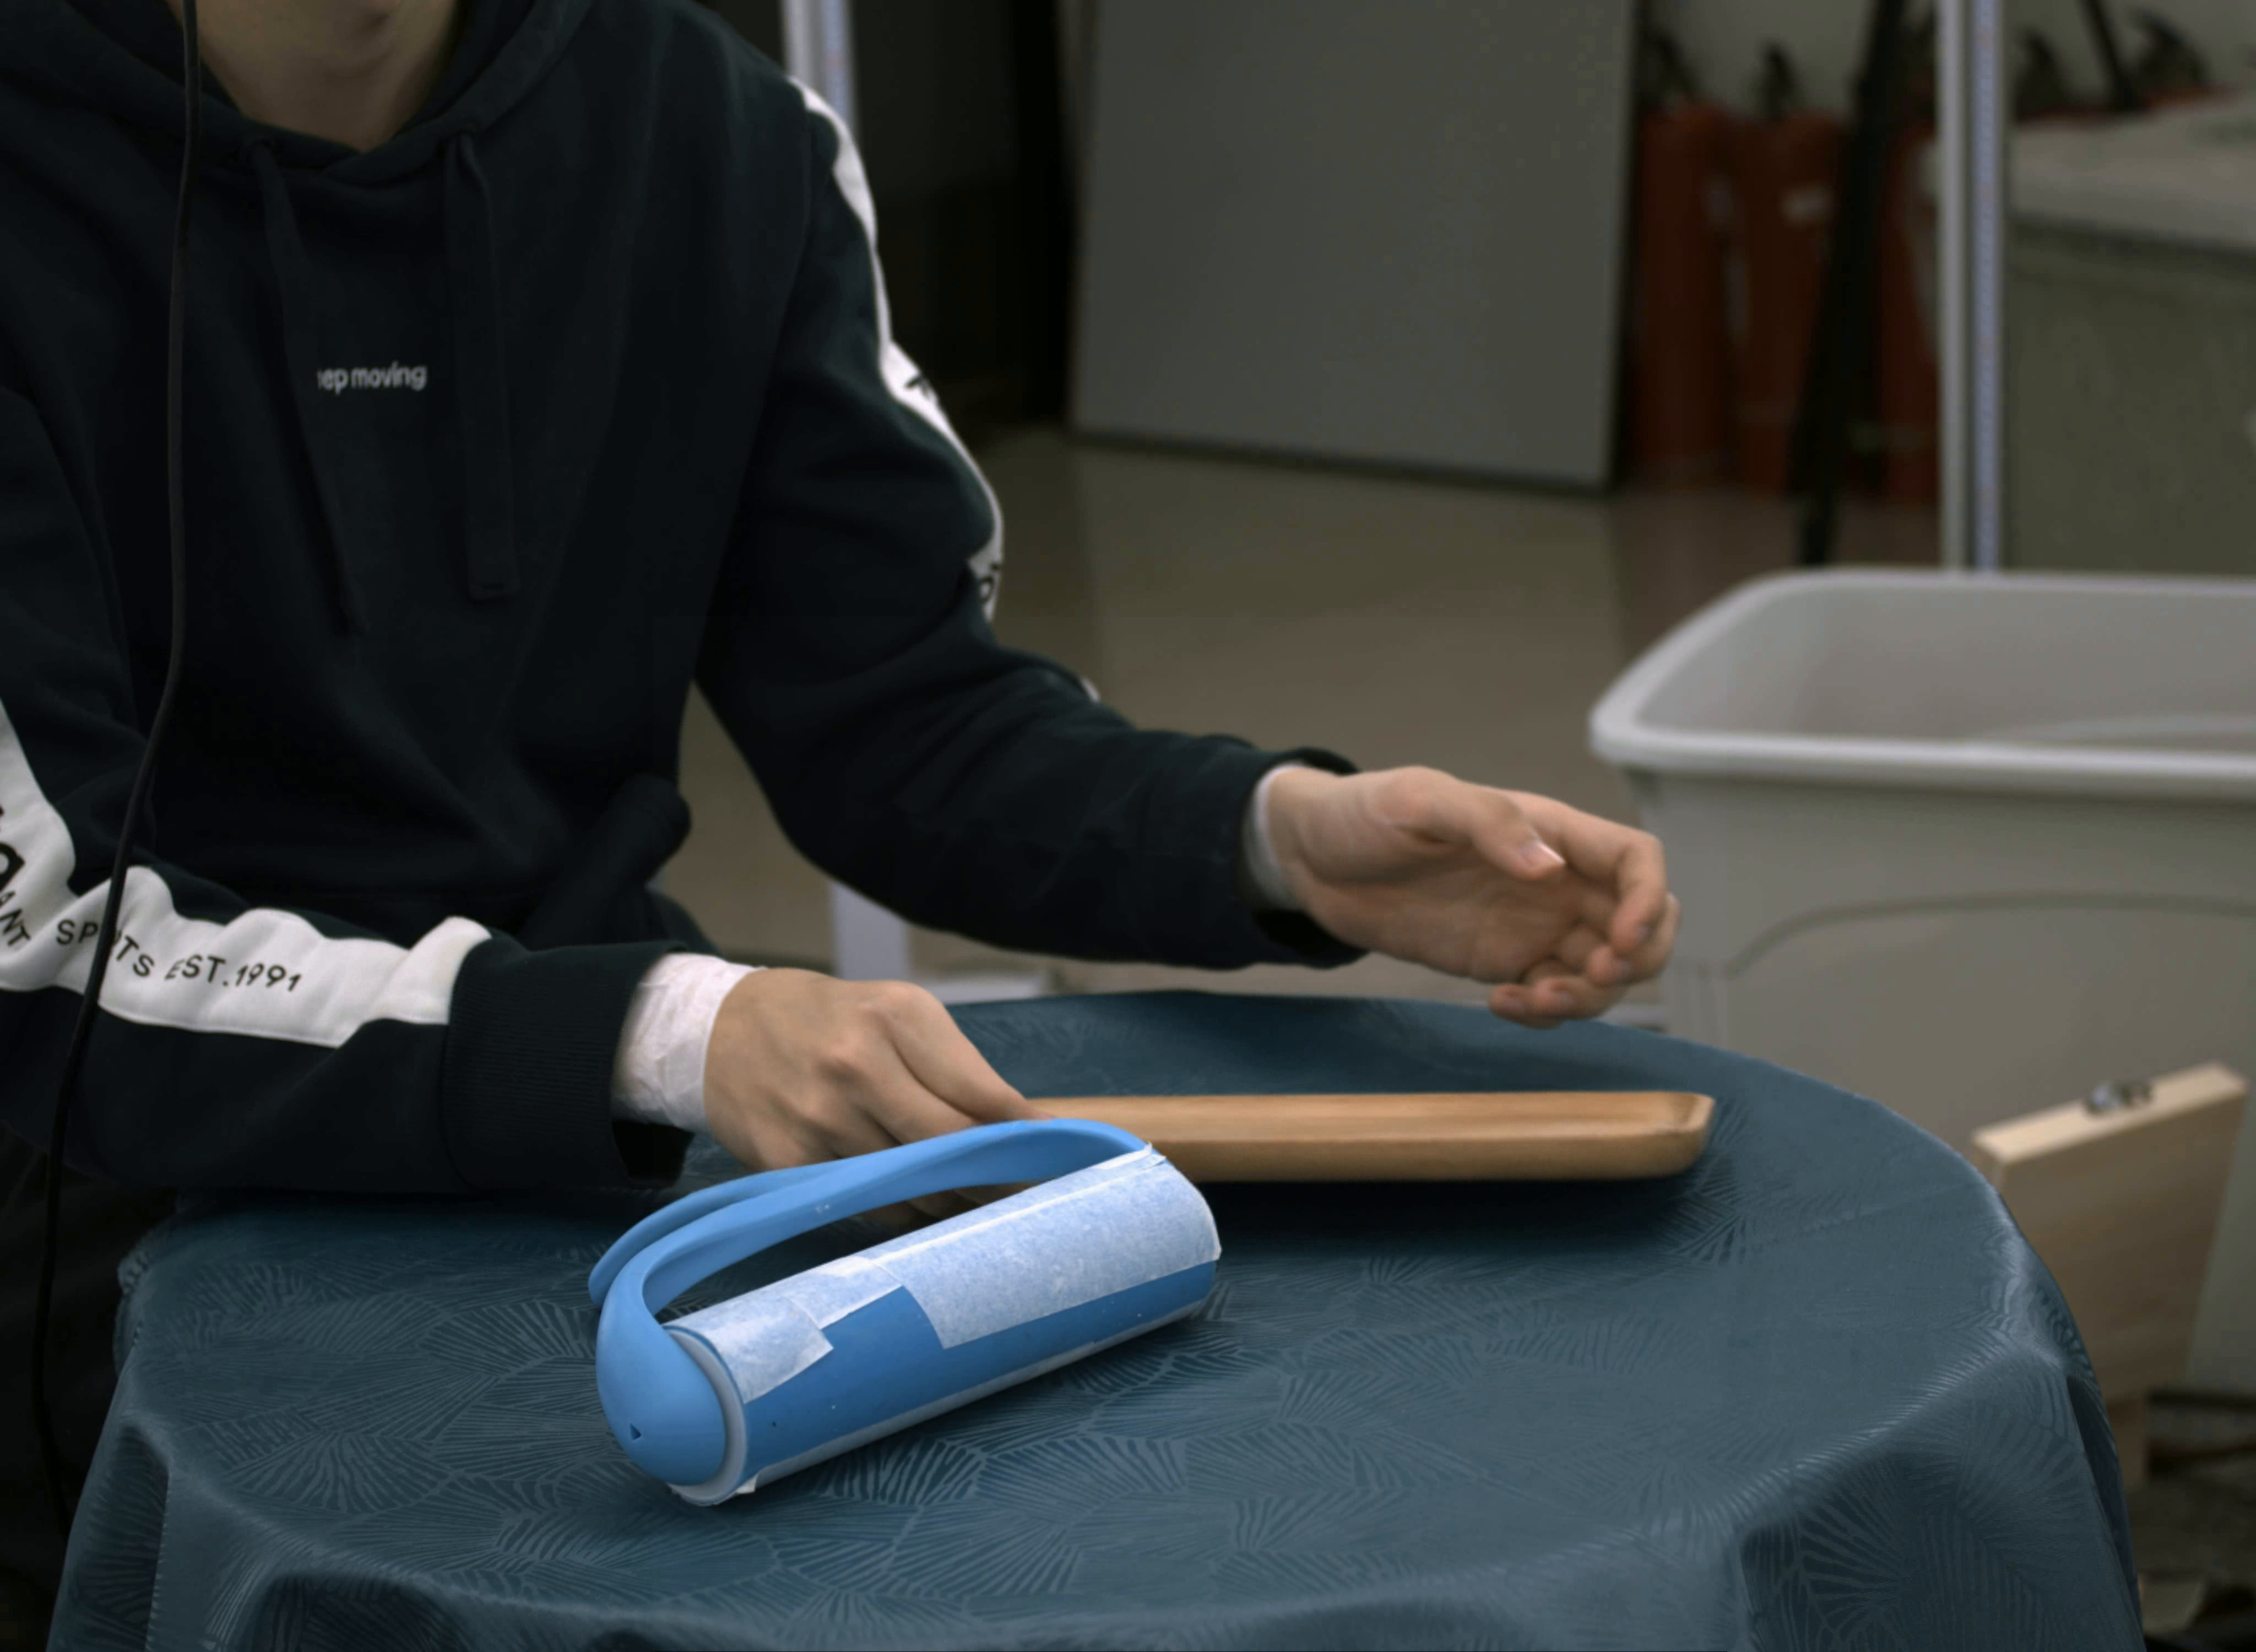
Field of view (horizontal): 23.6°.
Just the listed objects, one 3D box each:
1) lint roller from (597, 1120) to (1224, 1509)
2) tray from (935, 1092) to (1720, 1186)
[{"bbox_3d":[-0.100,0.137,1.619,0.182,0.068,0.224,10,21,42],"label":"lint roller"},{"bbox_3d":[0.066,0.102,1.752,0.249,0.023,0.129,-2,1,13],"label":"tray"}]
